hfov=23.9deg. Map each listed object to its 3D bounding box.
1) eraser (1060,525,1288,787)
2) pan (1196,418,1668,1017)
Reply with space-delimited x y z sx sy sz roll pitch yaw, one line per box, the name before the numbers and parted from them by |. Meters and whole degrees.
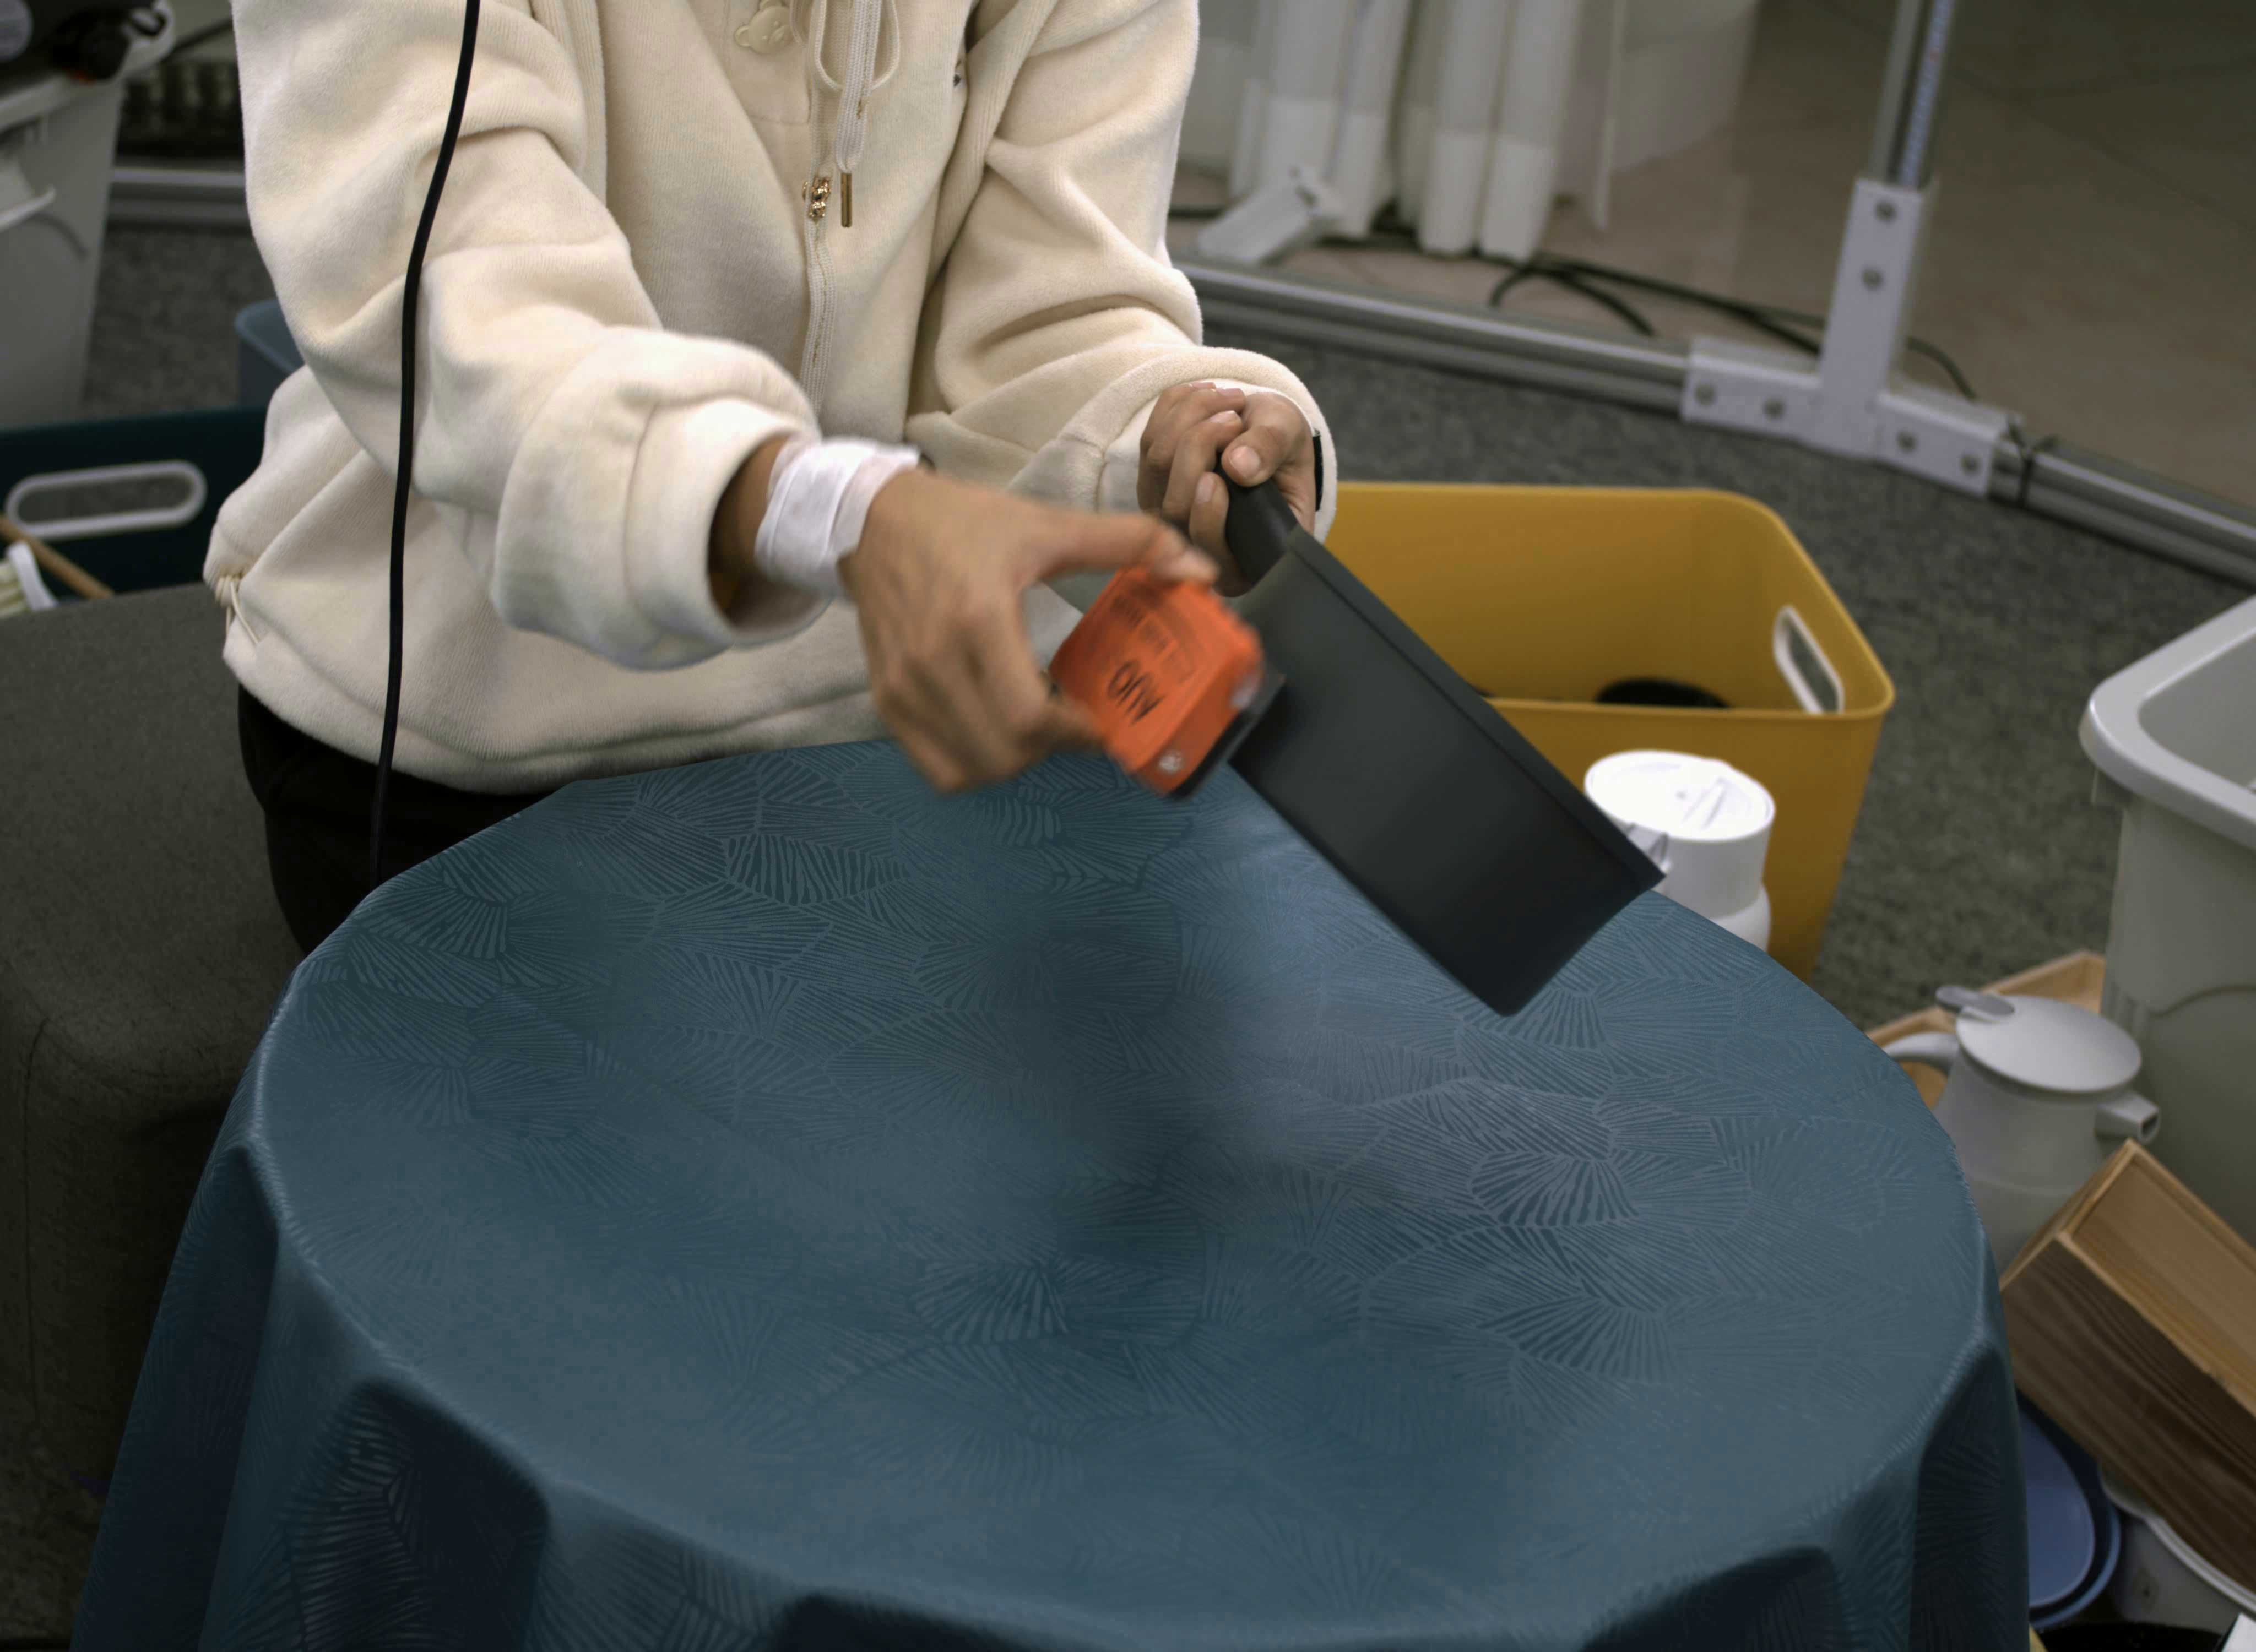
eraser | 0.014 -0.057 1.744 0.022 0.059 0.109 33 8 -26
pan | 0.068 -0.051 1.850 0.170 0.086 0.331 42 5 -31
